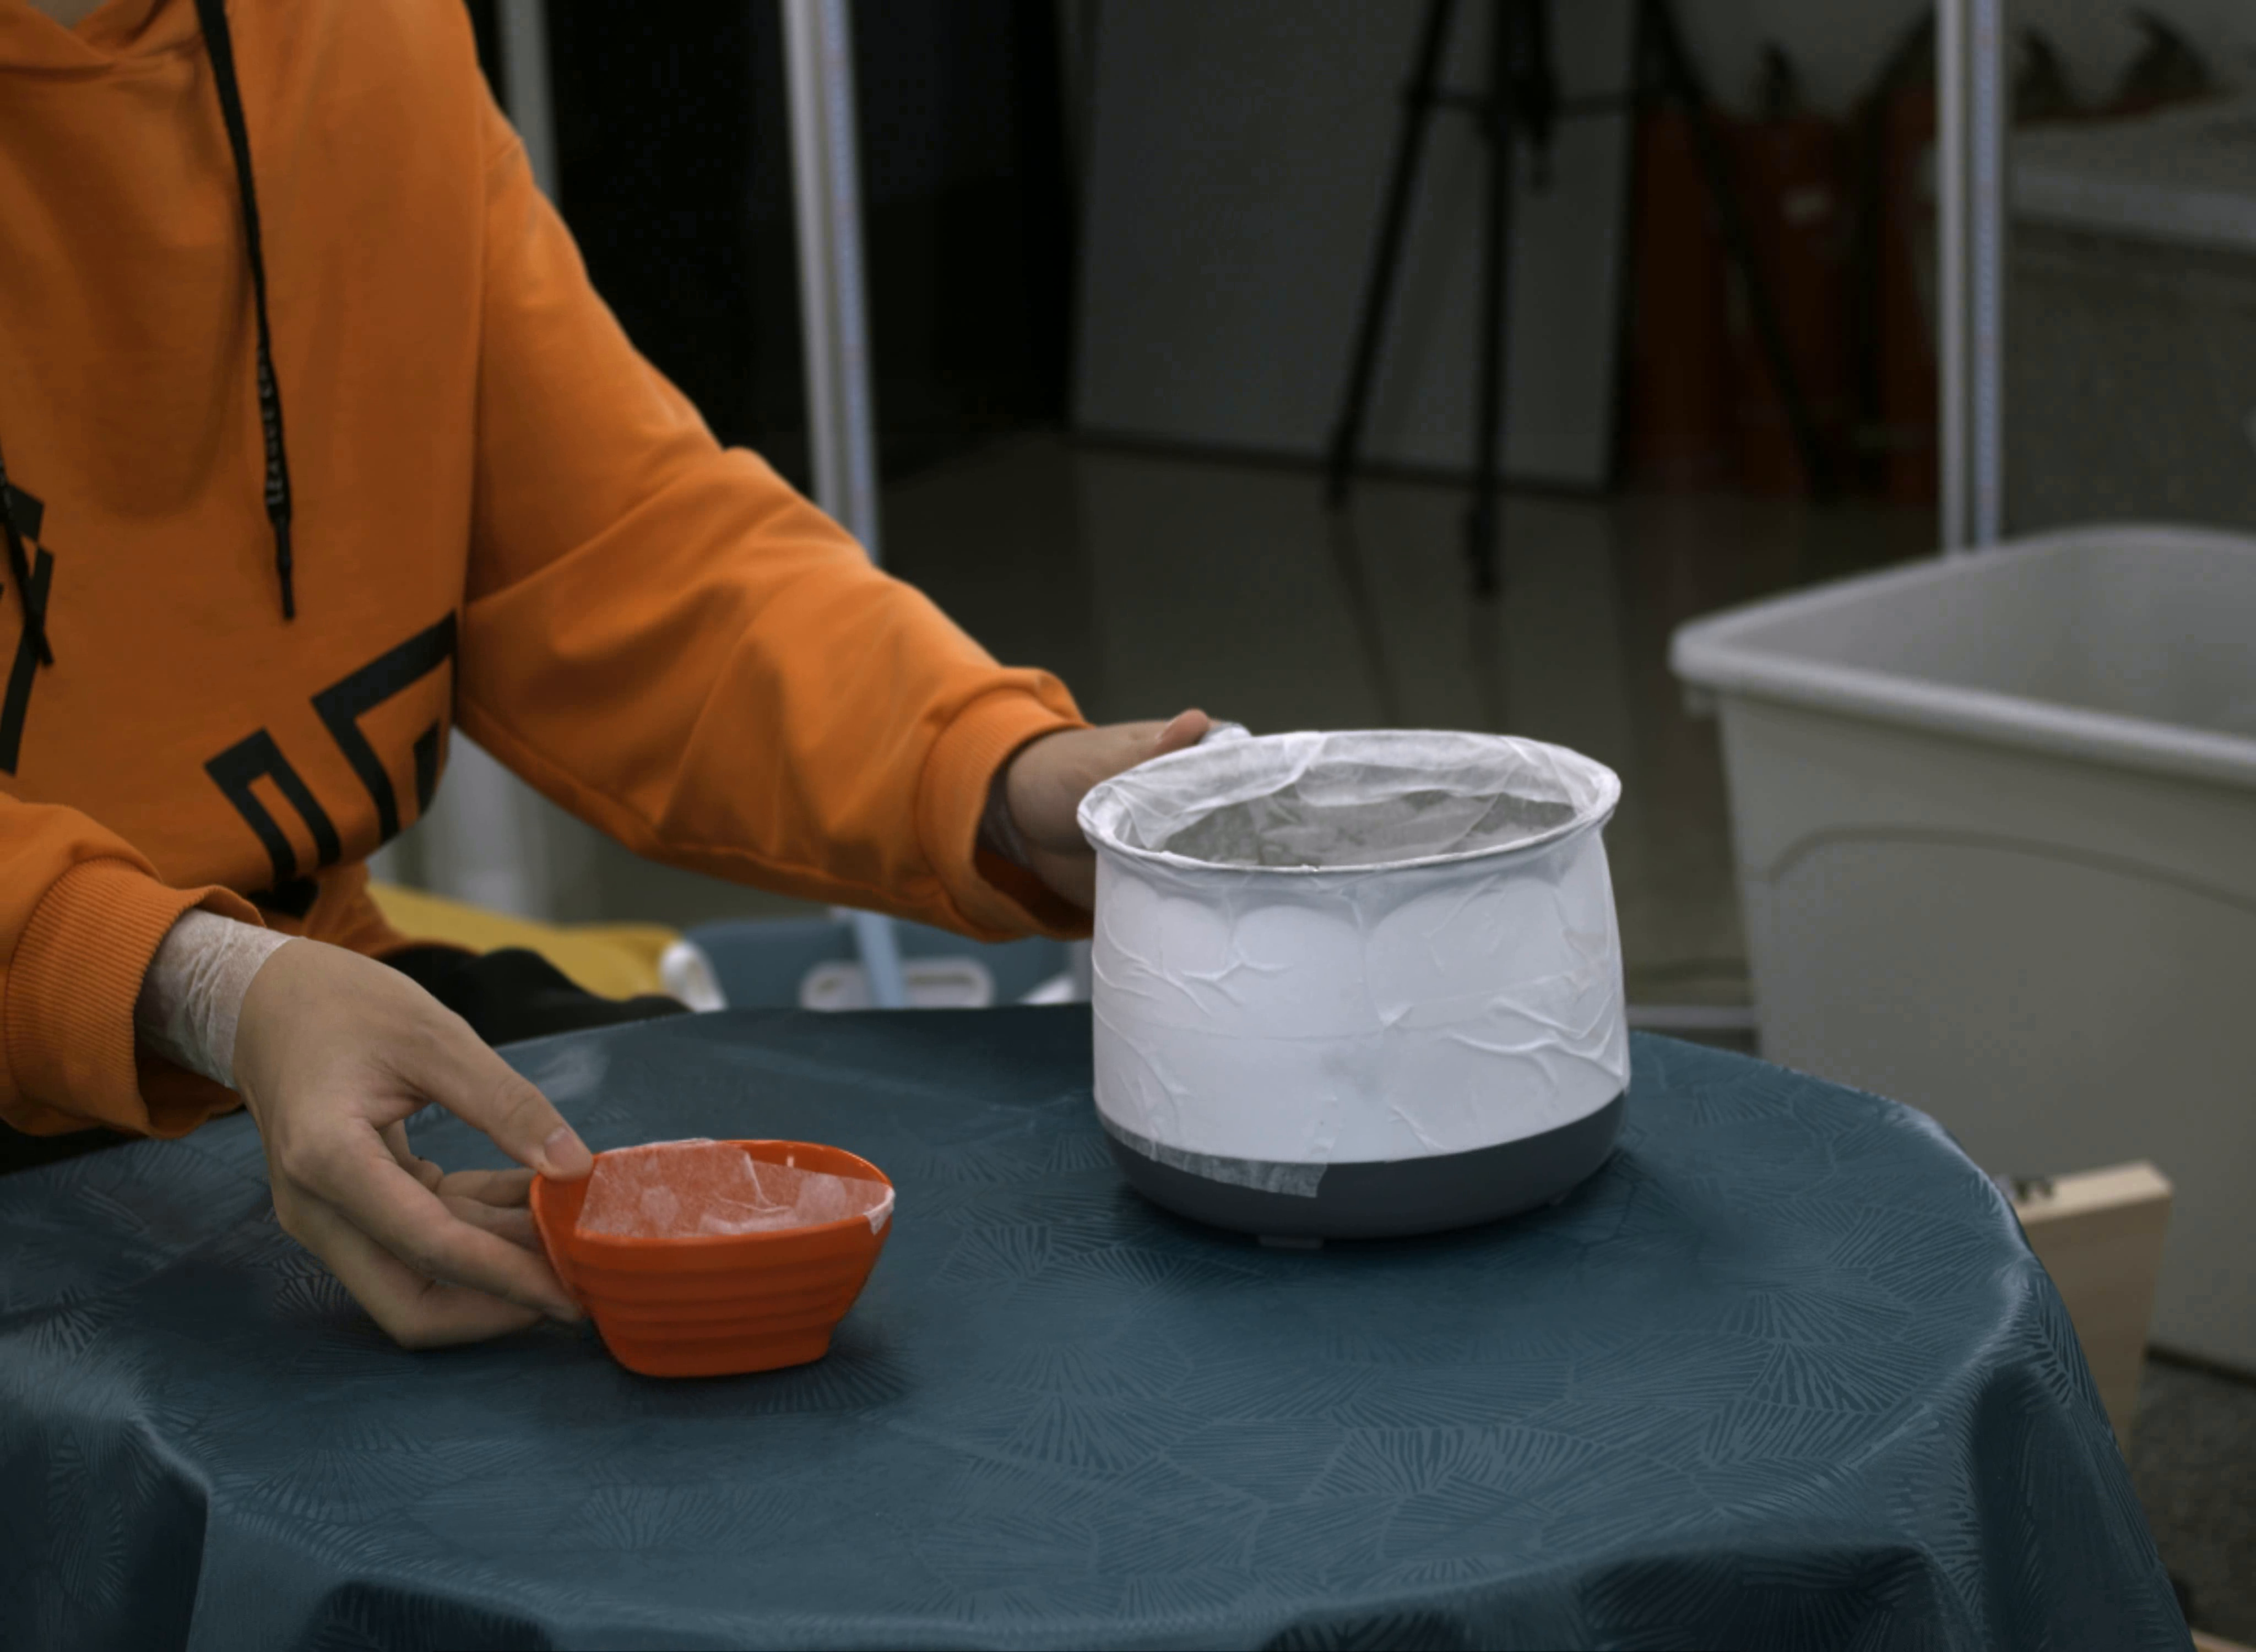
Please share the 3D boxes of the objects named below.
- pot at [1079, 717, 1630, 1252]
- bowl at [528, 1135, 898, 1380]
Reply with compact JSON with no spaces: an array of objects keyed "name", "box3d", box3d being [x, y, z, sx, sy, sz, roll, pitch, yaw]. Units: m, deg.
[{"name":"pot","box3d":[0.063,0.045,1.772,0.175,0.138,0.236,-9,15,-21]},{"name":"bowl","box3d":[-0.126,0.133,1.642,0.117,0.052,0.119,-1,12,-1]}]
